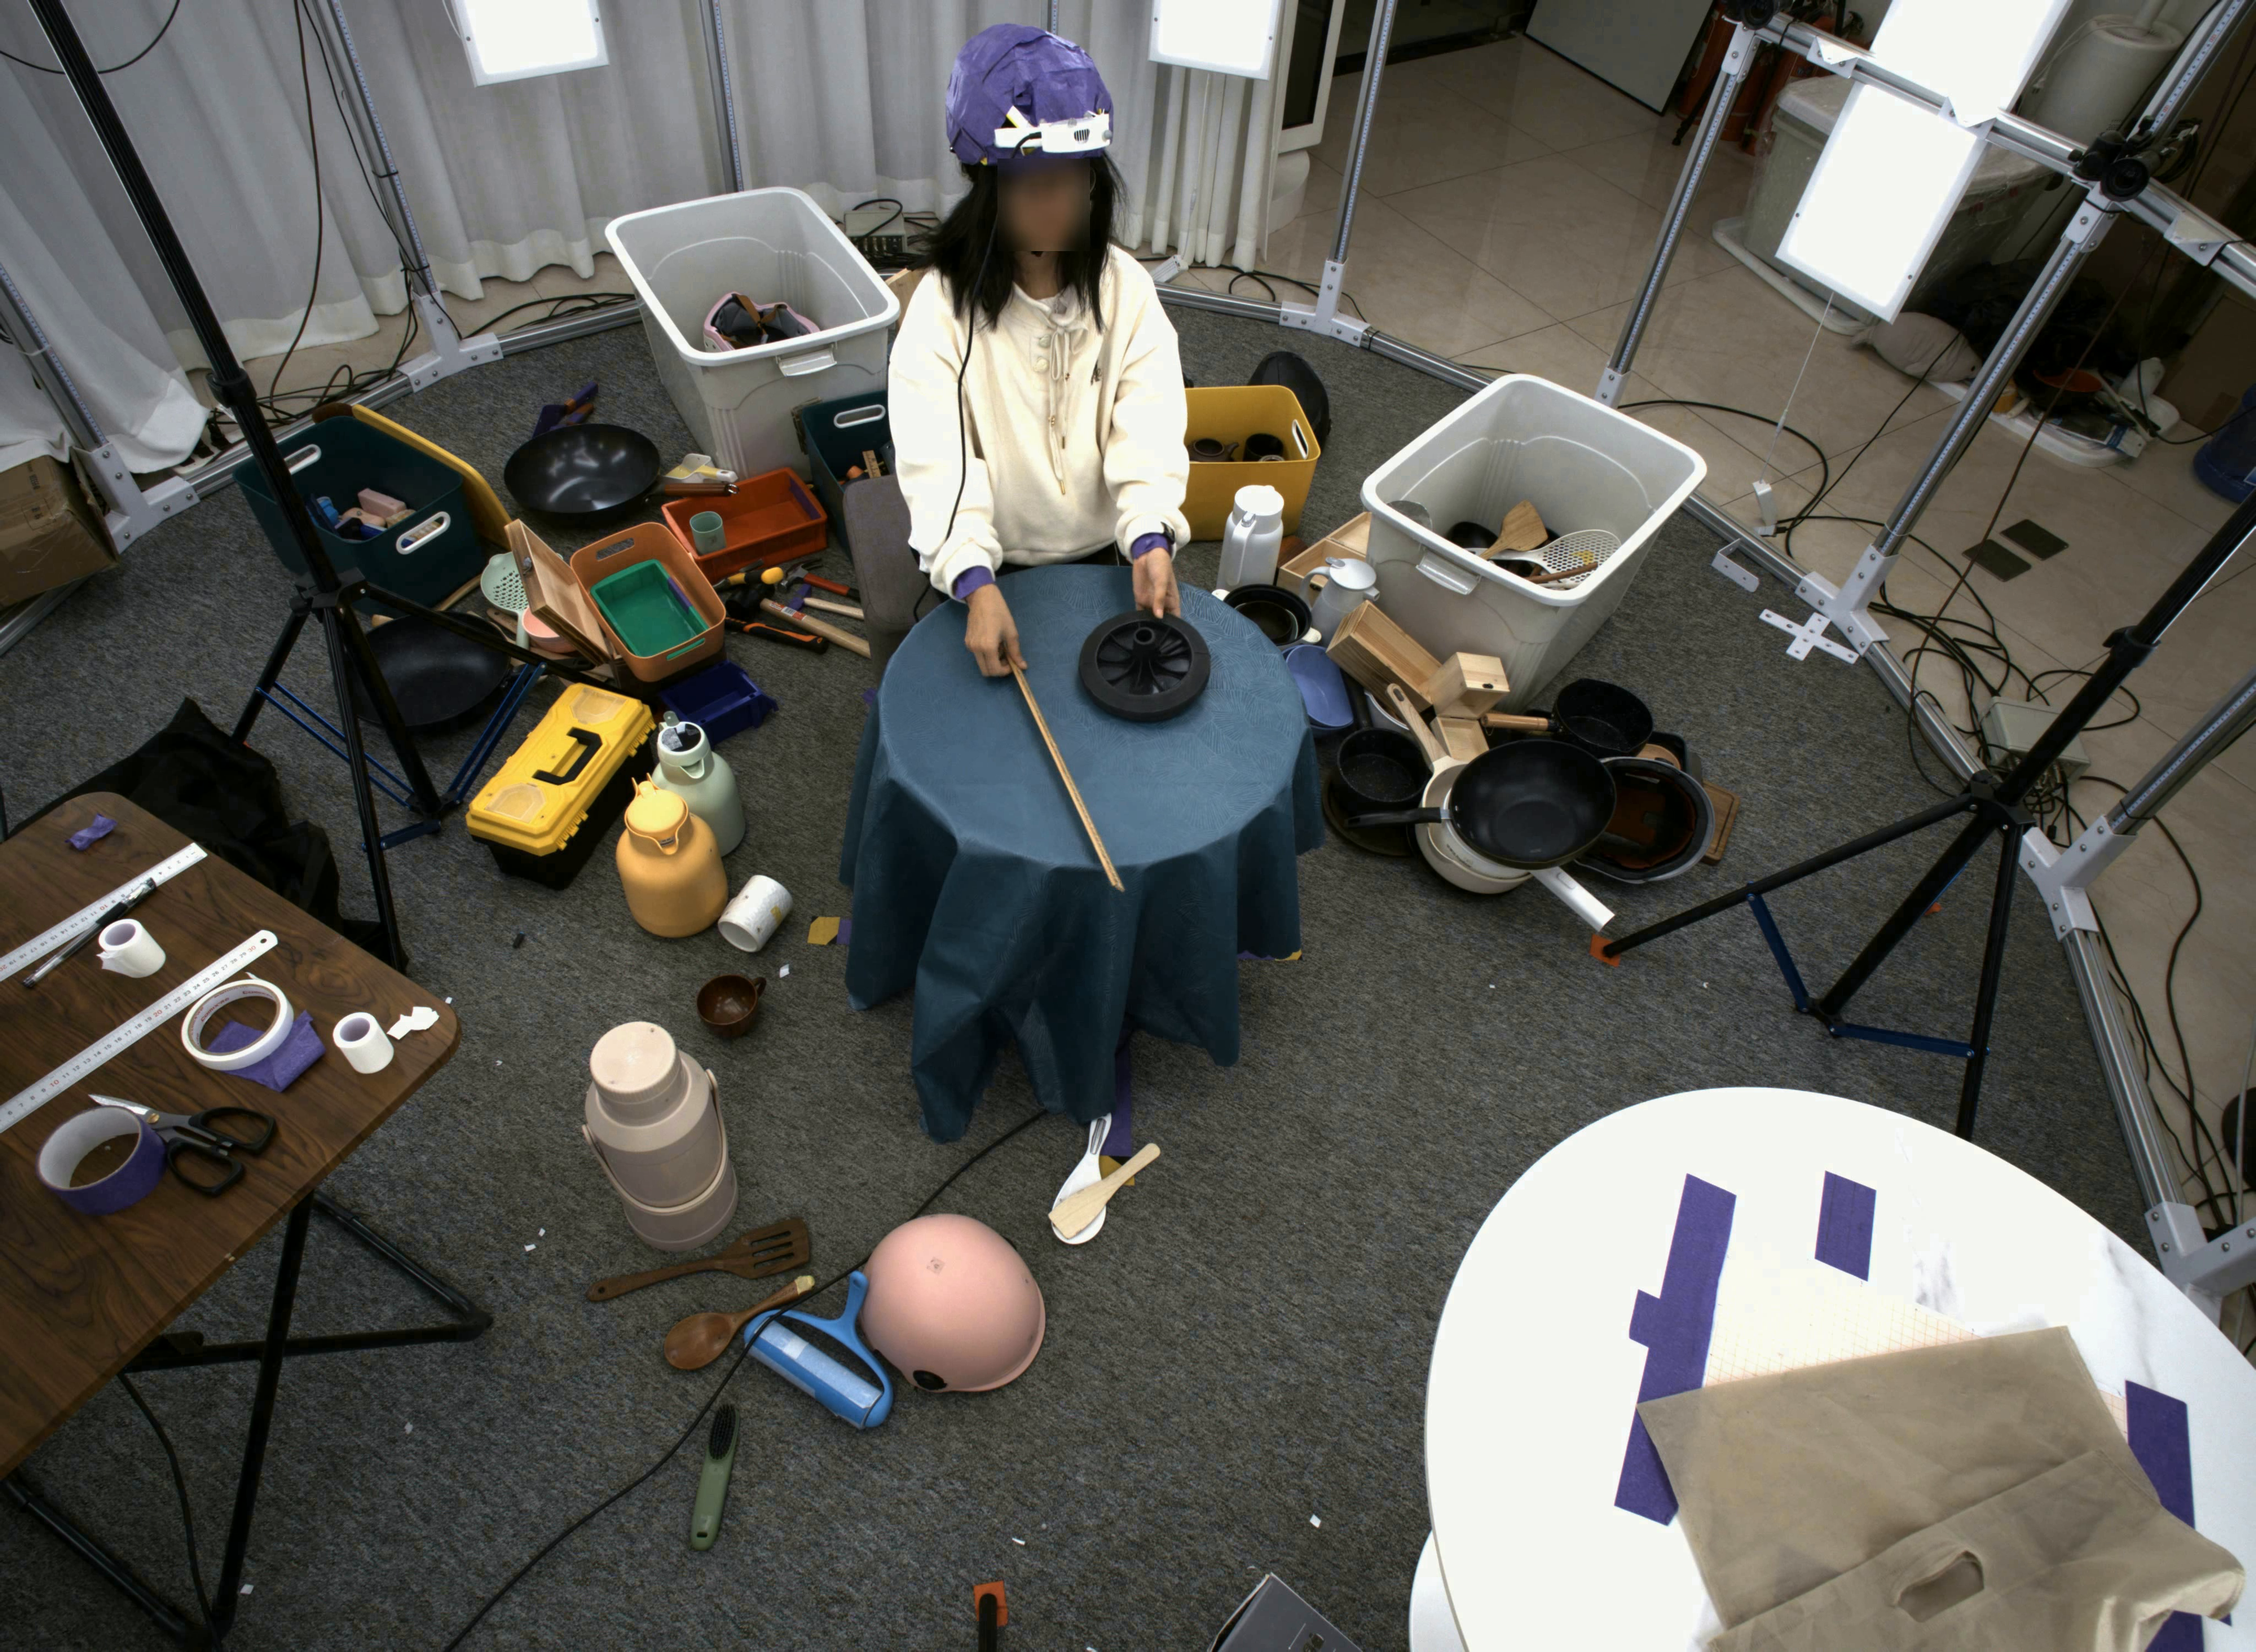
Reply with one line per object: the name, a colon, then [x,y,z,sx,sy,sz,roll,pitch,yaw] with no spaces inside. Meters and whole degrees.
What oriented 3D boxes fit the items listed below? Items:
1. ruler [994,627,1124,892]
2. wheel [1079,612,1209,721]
ruler: [-0.101,-0.106,1.740,0.006,0.026,0.512,-37,51,14]
wheel: [0.024,-0.242,1.823,0.189,0.077,0.192,26,61,17]
